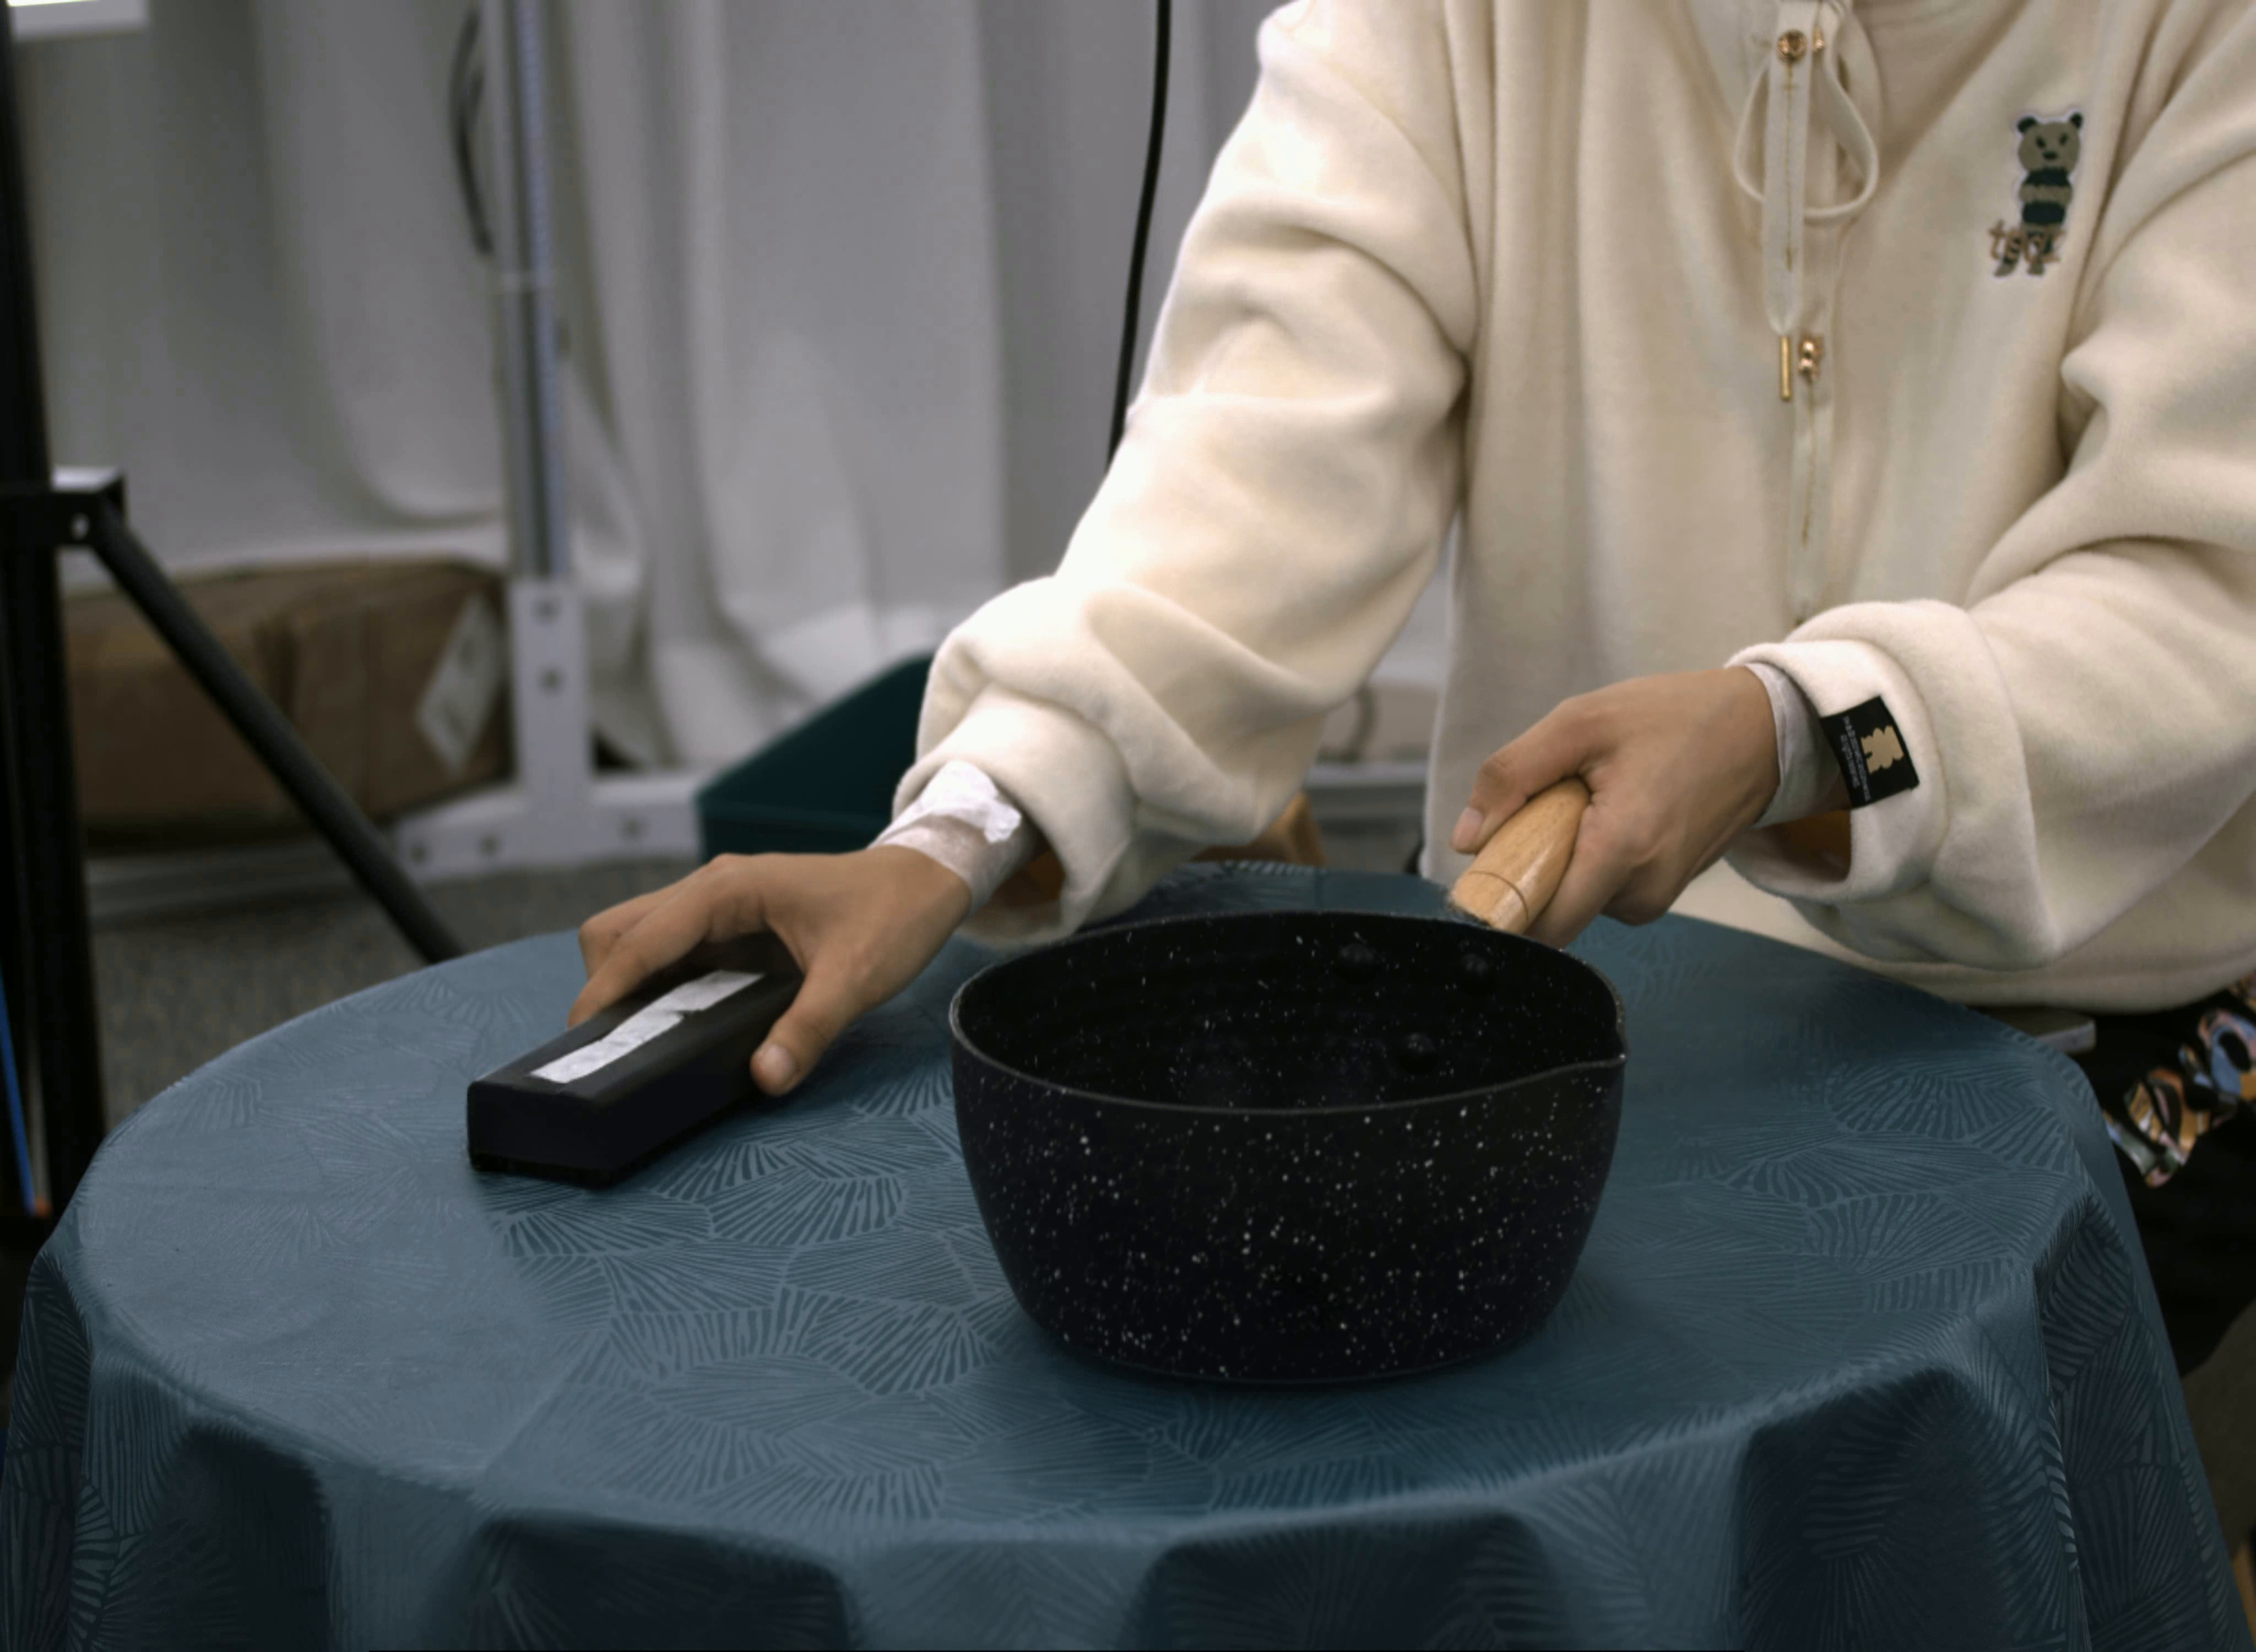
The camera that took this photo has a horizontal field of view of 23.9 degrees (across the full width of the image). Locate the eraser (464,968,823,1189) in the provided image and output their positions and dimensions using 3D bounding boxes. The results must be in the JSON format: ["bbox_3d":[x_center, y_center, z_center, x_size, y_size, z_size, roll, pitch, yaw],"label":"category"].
[{"bbox_3d":[-0.147,0.077,1.638,0.054,0.030,0.123,6,18,29],"label":"eraser"}]

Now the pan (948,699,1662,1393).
[{"bbox_3d":[0.078,0.057,1.517,0.211,0.108,0.337,6,19,26],"label":"pan"}]
